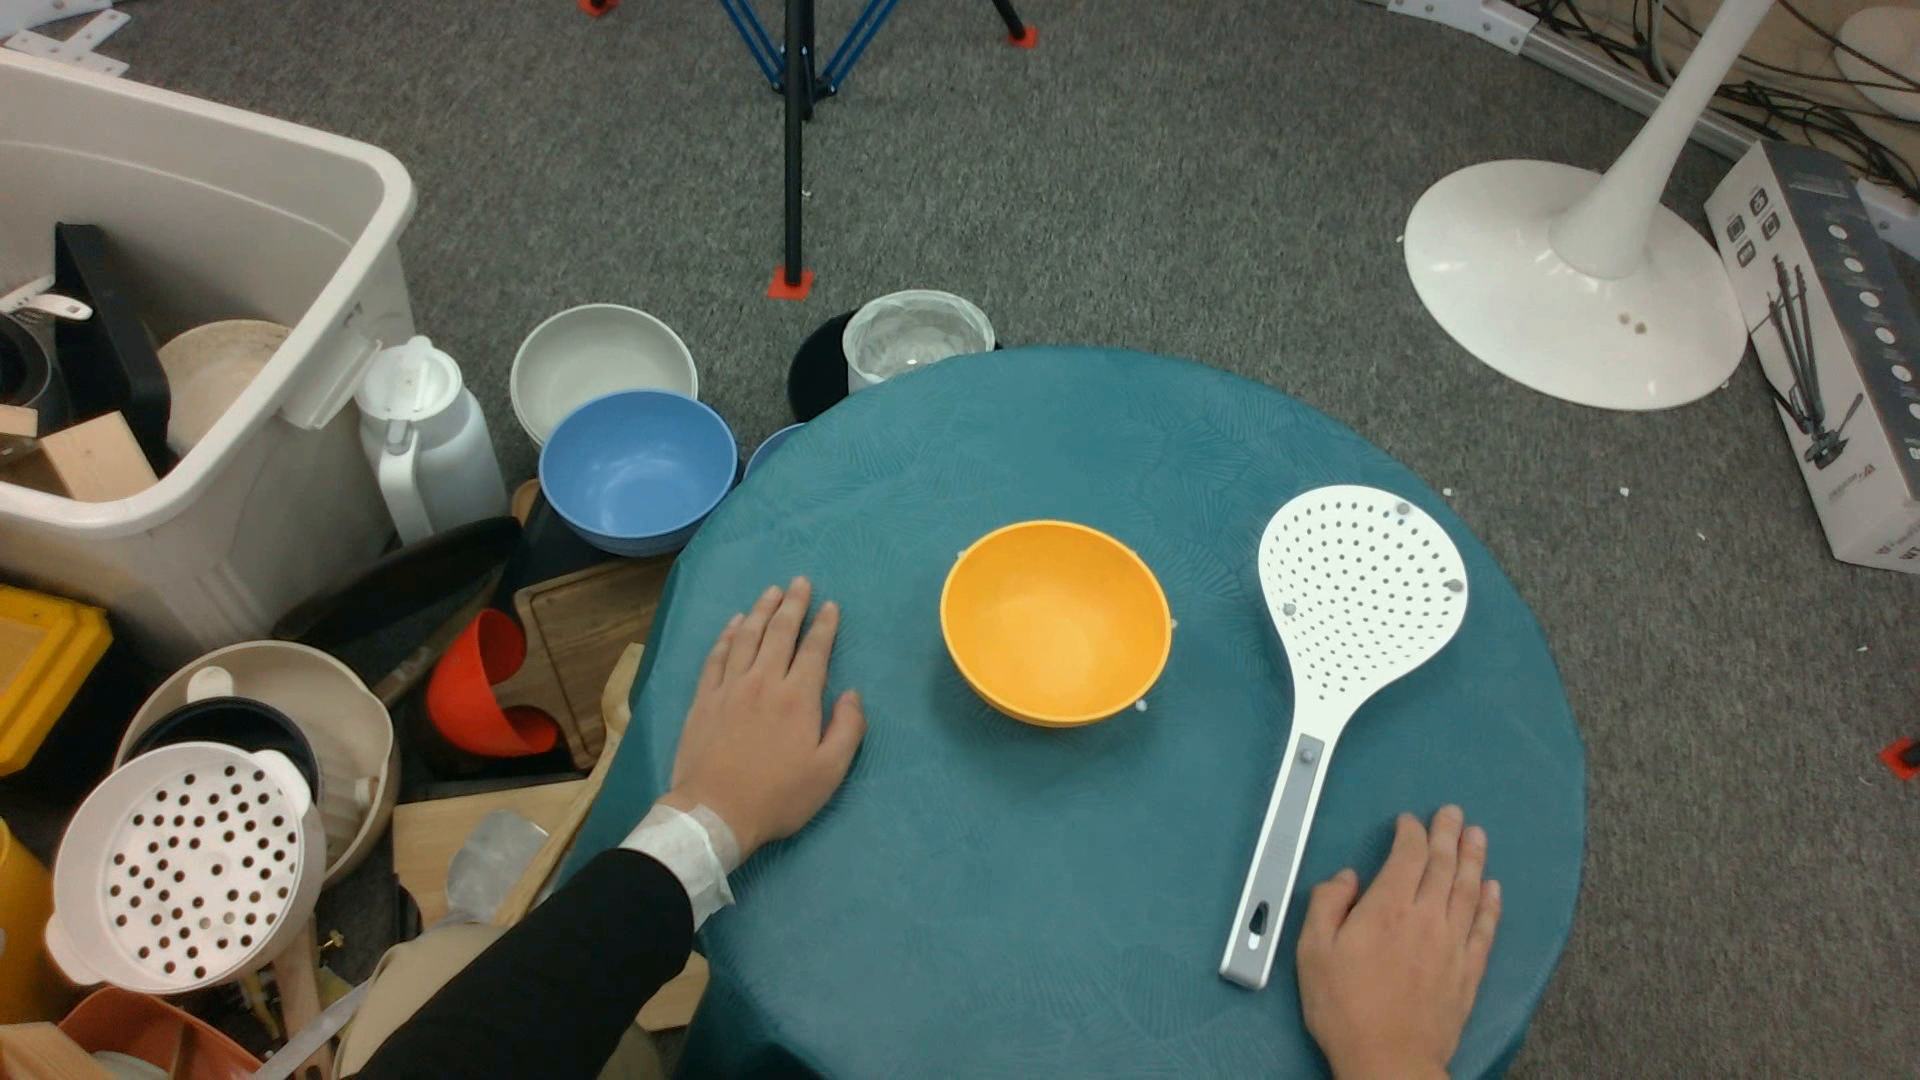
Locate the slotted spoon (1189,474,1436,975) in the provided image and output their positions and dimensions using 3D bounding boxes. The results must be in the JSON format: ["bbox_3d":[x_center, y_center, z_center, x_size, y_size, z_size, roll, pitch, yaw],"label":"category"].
[{"bbox_3d":[0.208,0.105,0.867,0.136,0.045,0.351,21,57,7],"label":"slotted spoon"}]

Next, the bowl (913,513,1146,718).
[{"bbox_3d":[0.041,0.057,0.870,0.145,0.060,0.146,3,55,-4],"label":"bowl"}]
